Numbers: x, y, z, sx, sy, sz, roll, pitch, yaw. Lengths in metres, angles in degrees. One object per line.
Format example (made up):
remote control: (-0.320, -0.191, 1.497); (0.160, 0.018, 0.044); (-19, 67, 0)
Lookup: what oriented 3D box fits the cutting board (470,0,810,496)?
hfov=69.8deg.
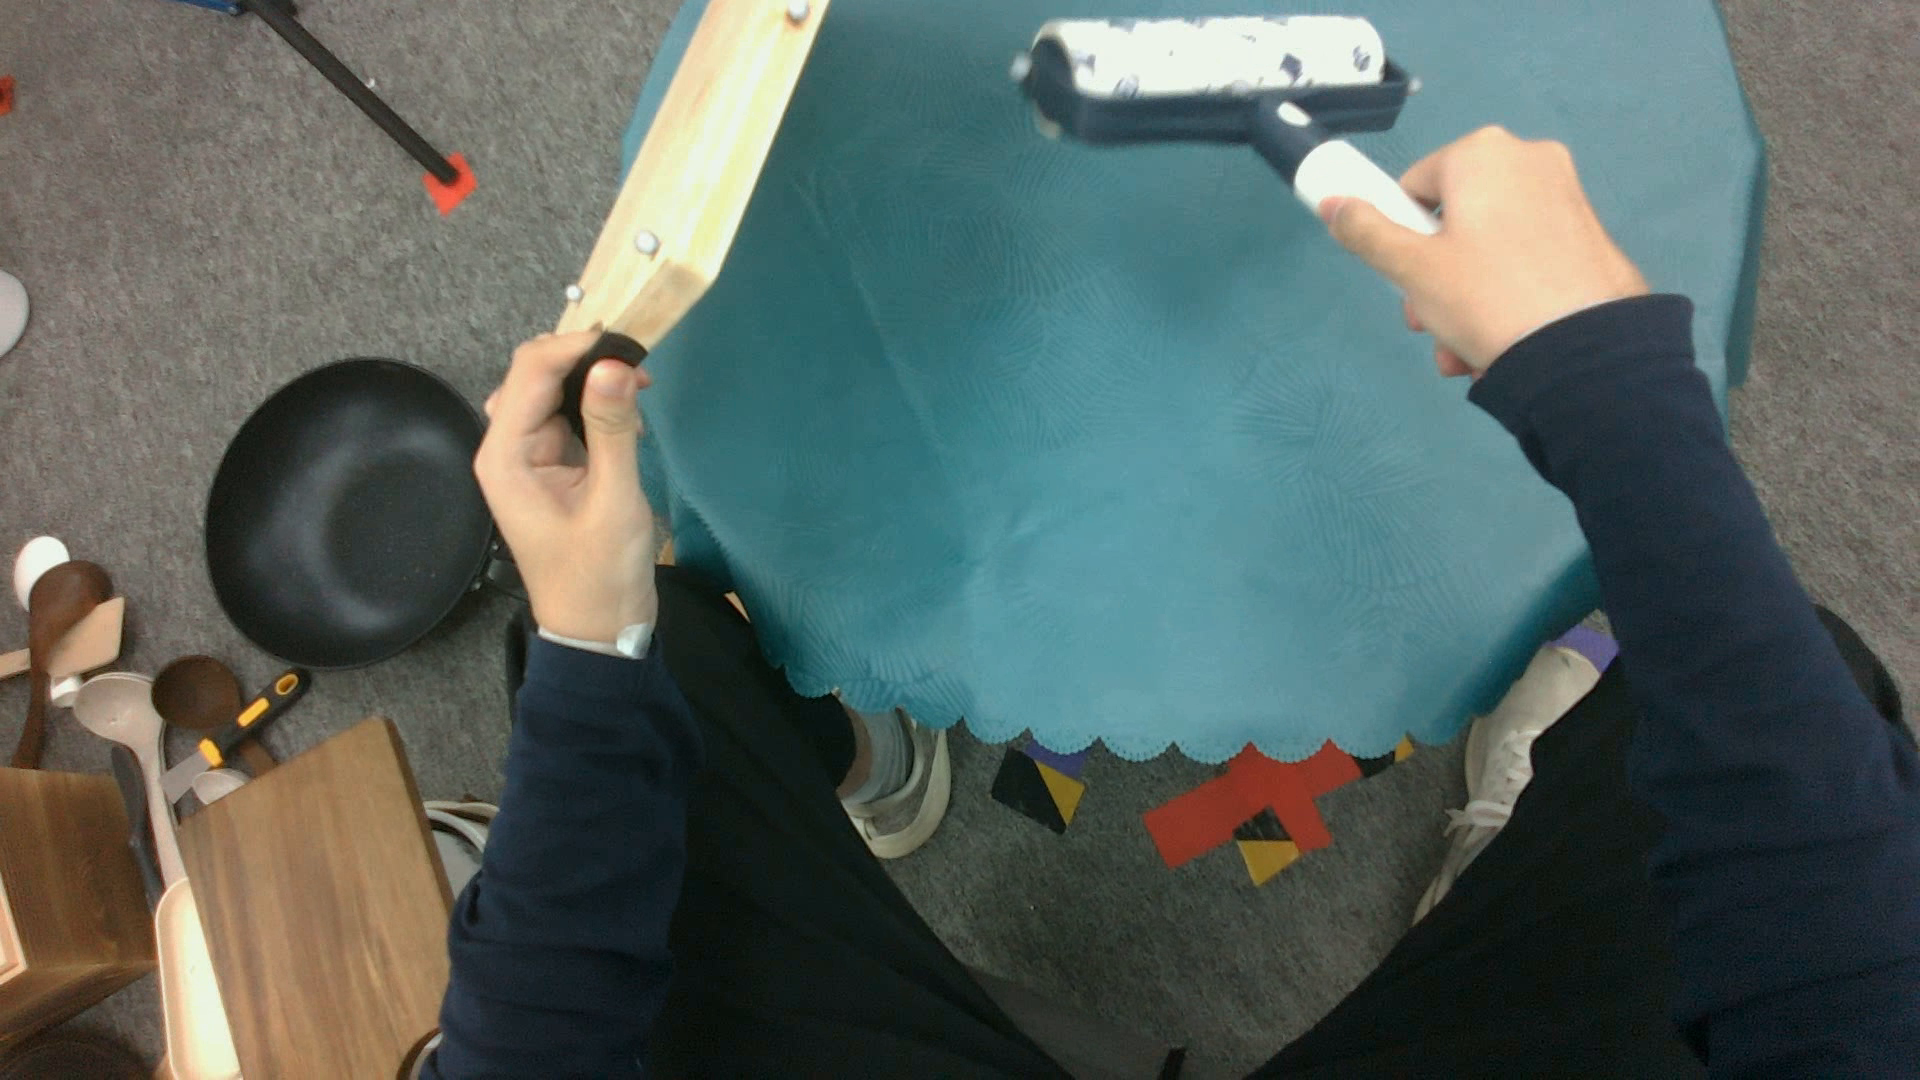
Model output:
cutting board: (-0.120, -0.205, 0.634); (0.023, 0.249, 0.350); (28, 60, -23)

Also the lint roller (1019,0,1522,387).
lint roller: (0.150, -0.153, 0.559); (0.177, 0.050, 0.247); (-8, 47, -25)
